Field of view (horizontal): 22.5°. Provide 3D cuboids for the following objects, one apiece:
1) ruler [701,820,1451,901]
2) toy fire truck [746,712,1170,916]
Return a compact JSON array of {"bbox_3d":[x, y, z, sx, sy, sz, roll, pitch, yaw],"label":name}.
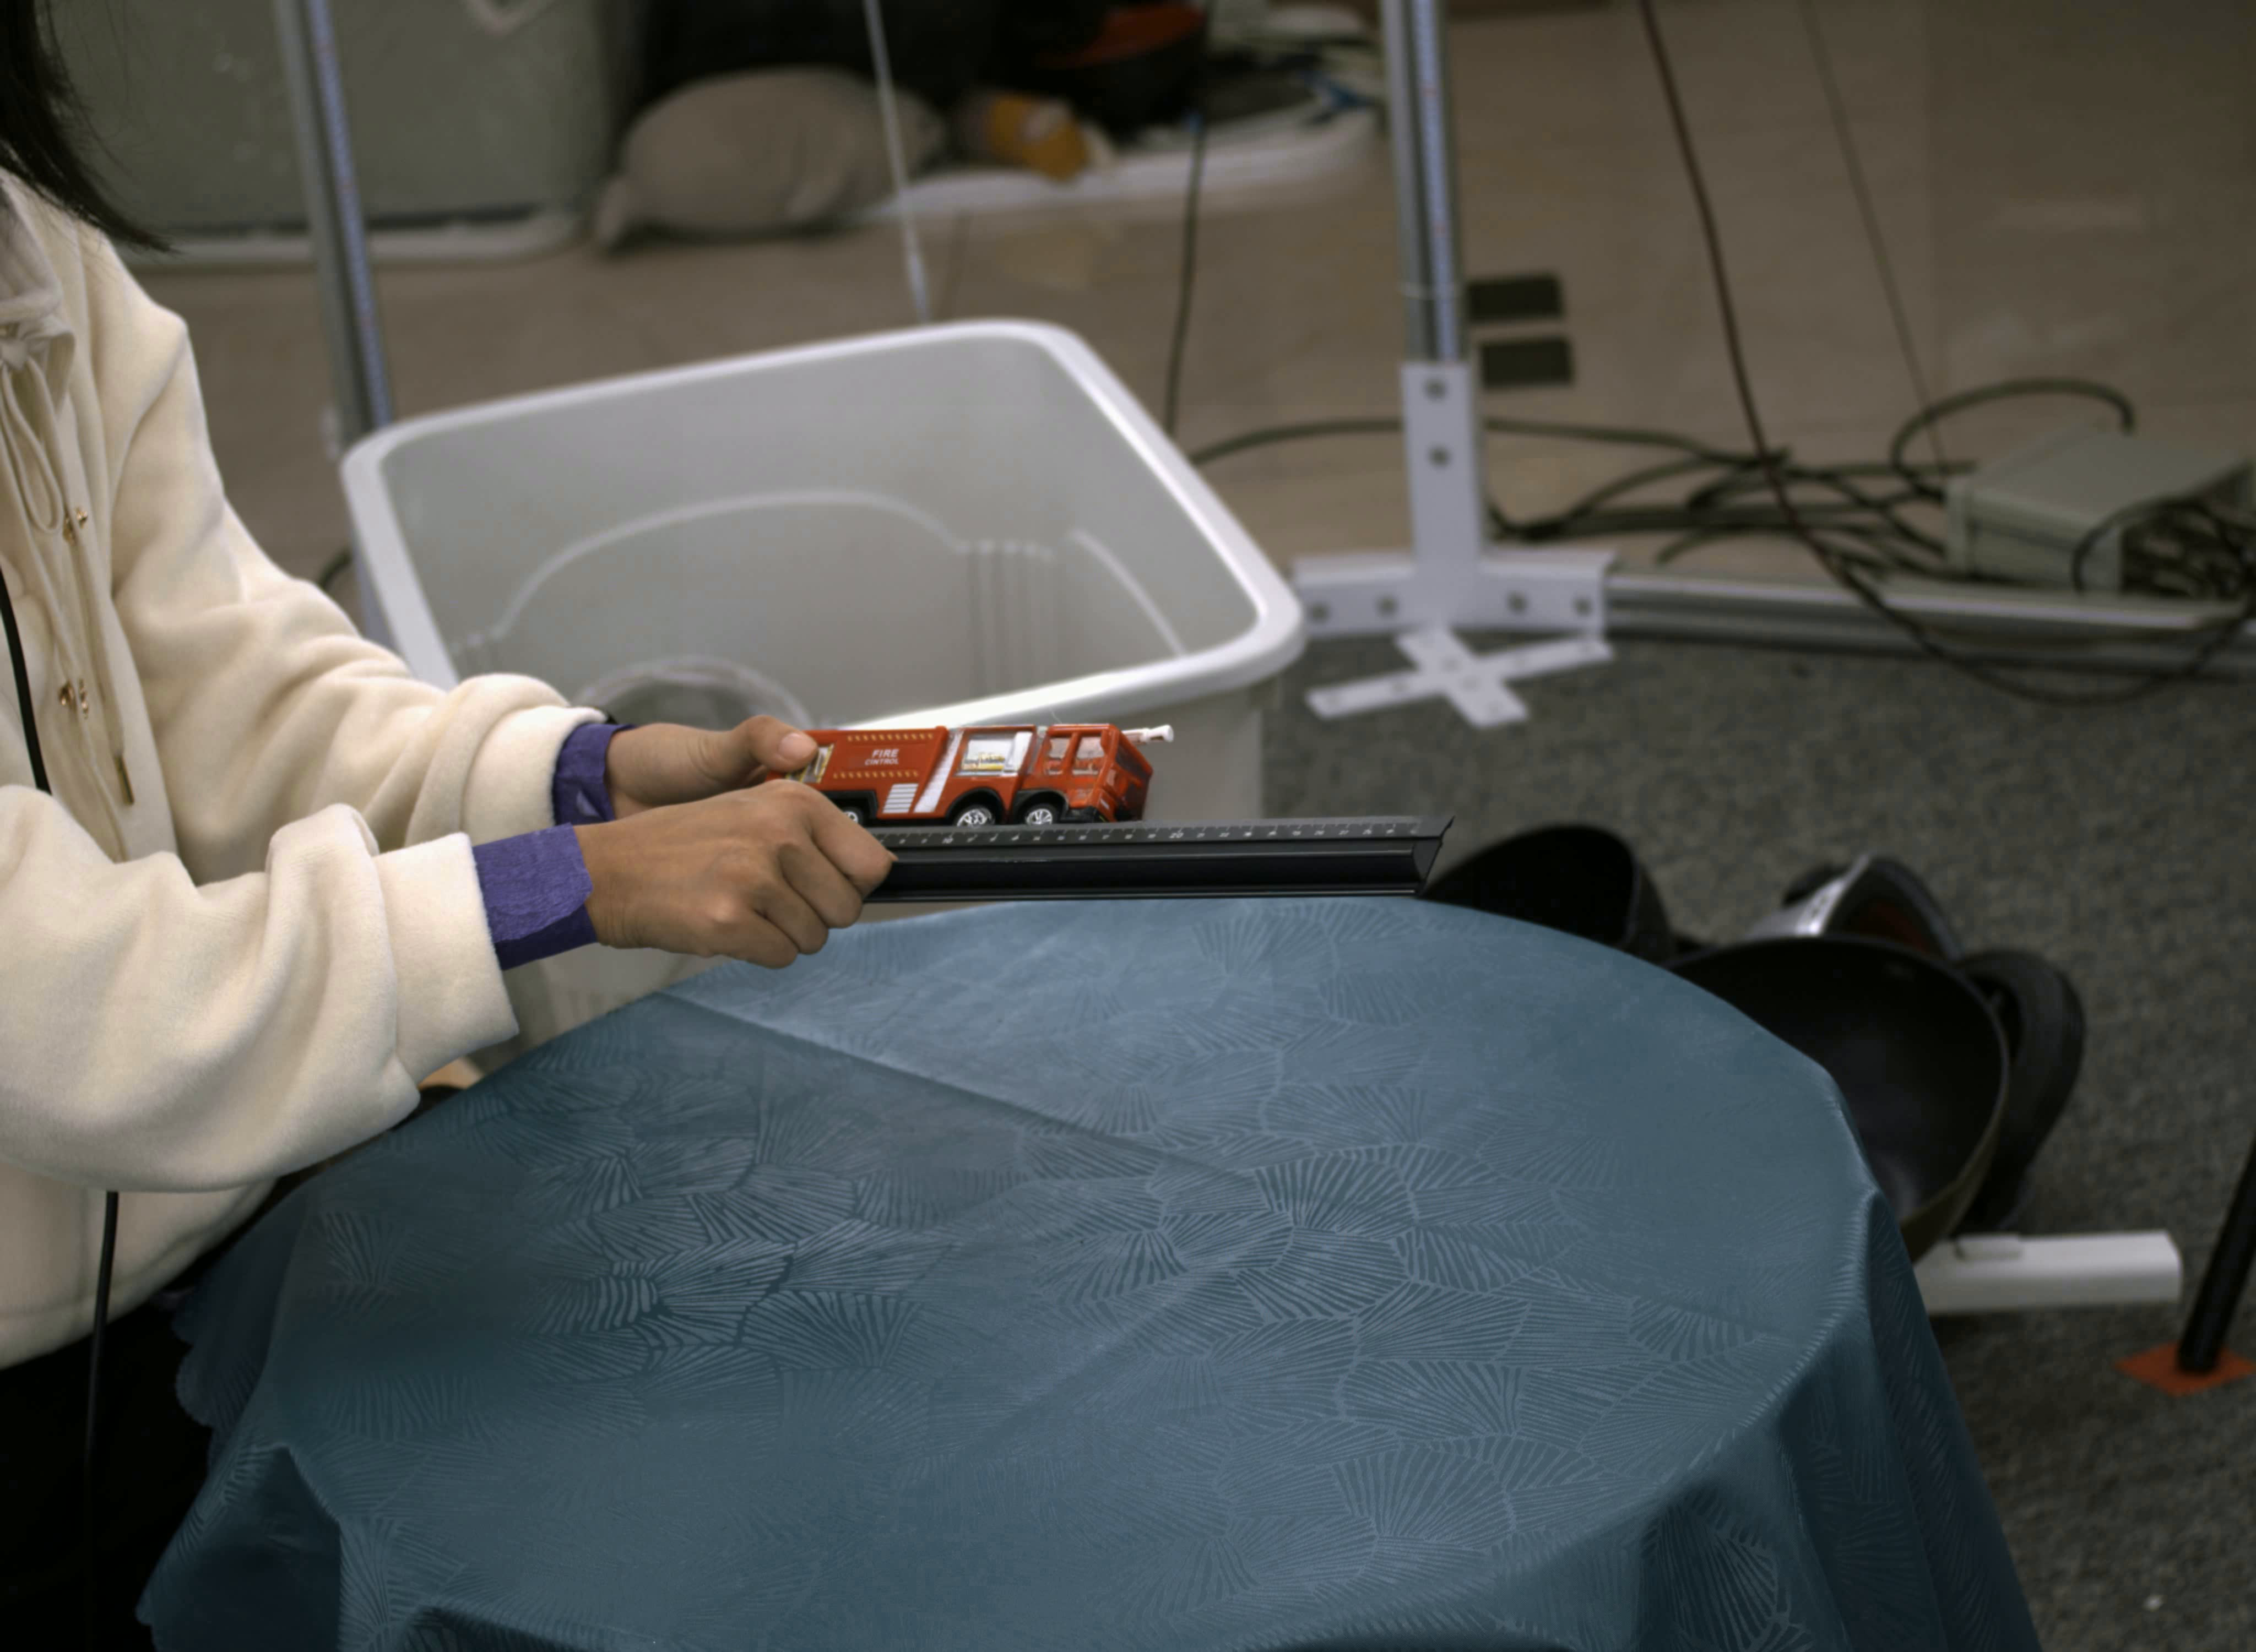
[{"bbox_3d":[-0.024,0.008,2.065,0.312,0.017,0.038,0,45,33],"label":"ruler"},{"bbox_3d":[-0.063,-0.005,2.146,0.168,0.055,0.069,-2,57,33],"label":"toy fire truck"}]
